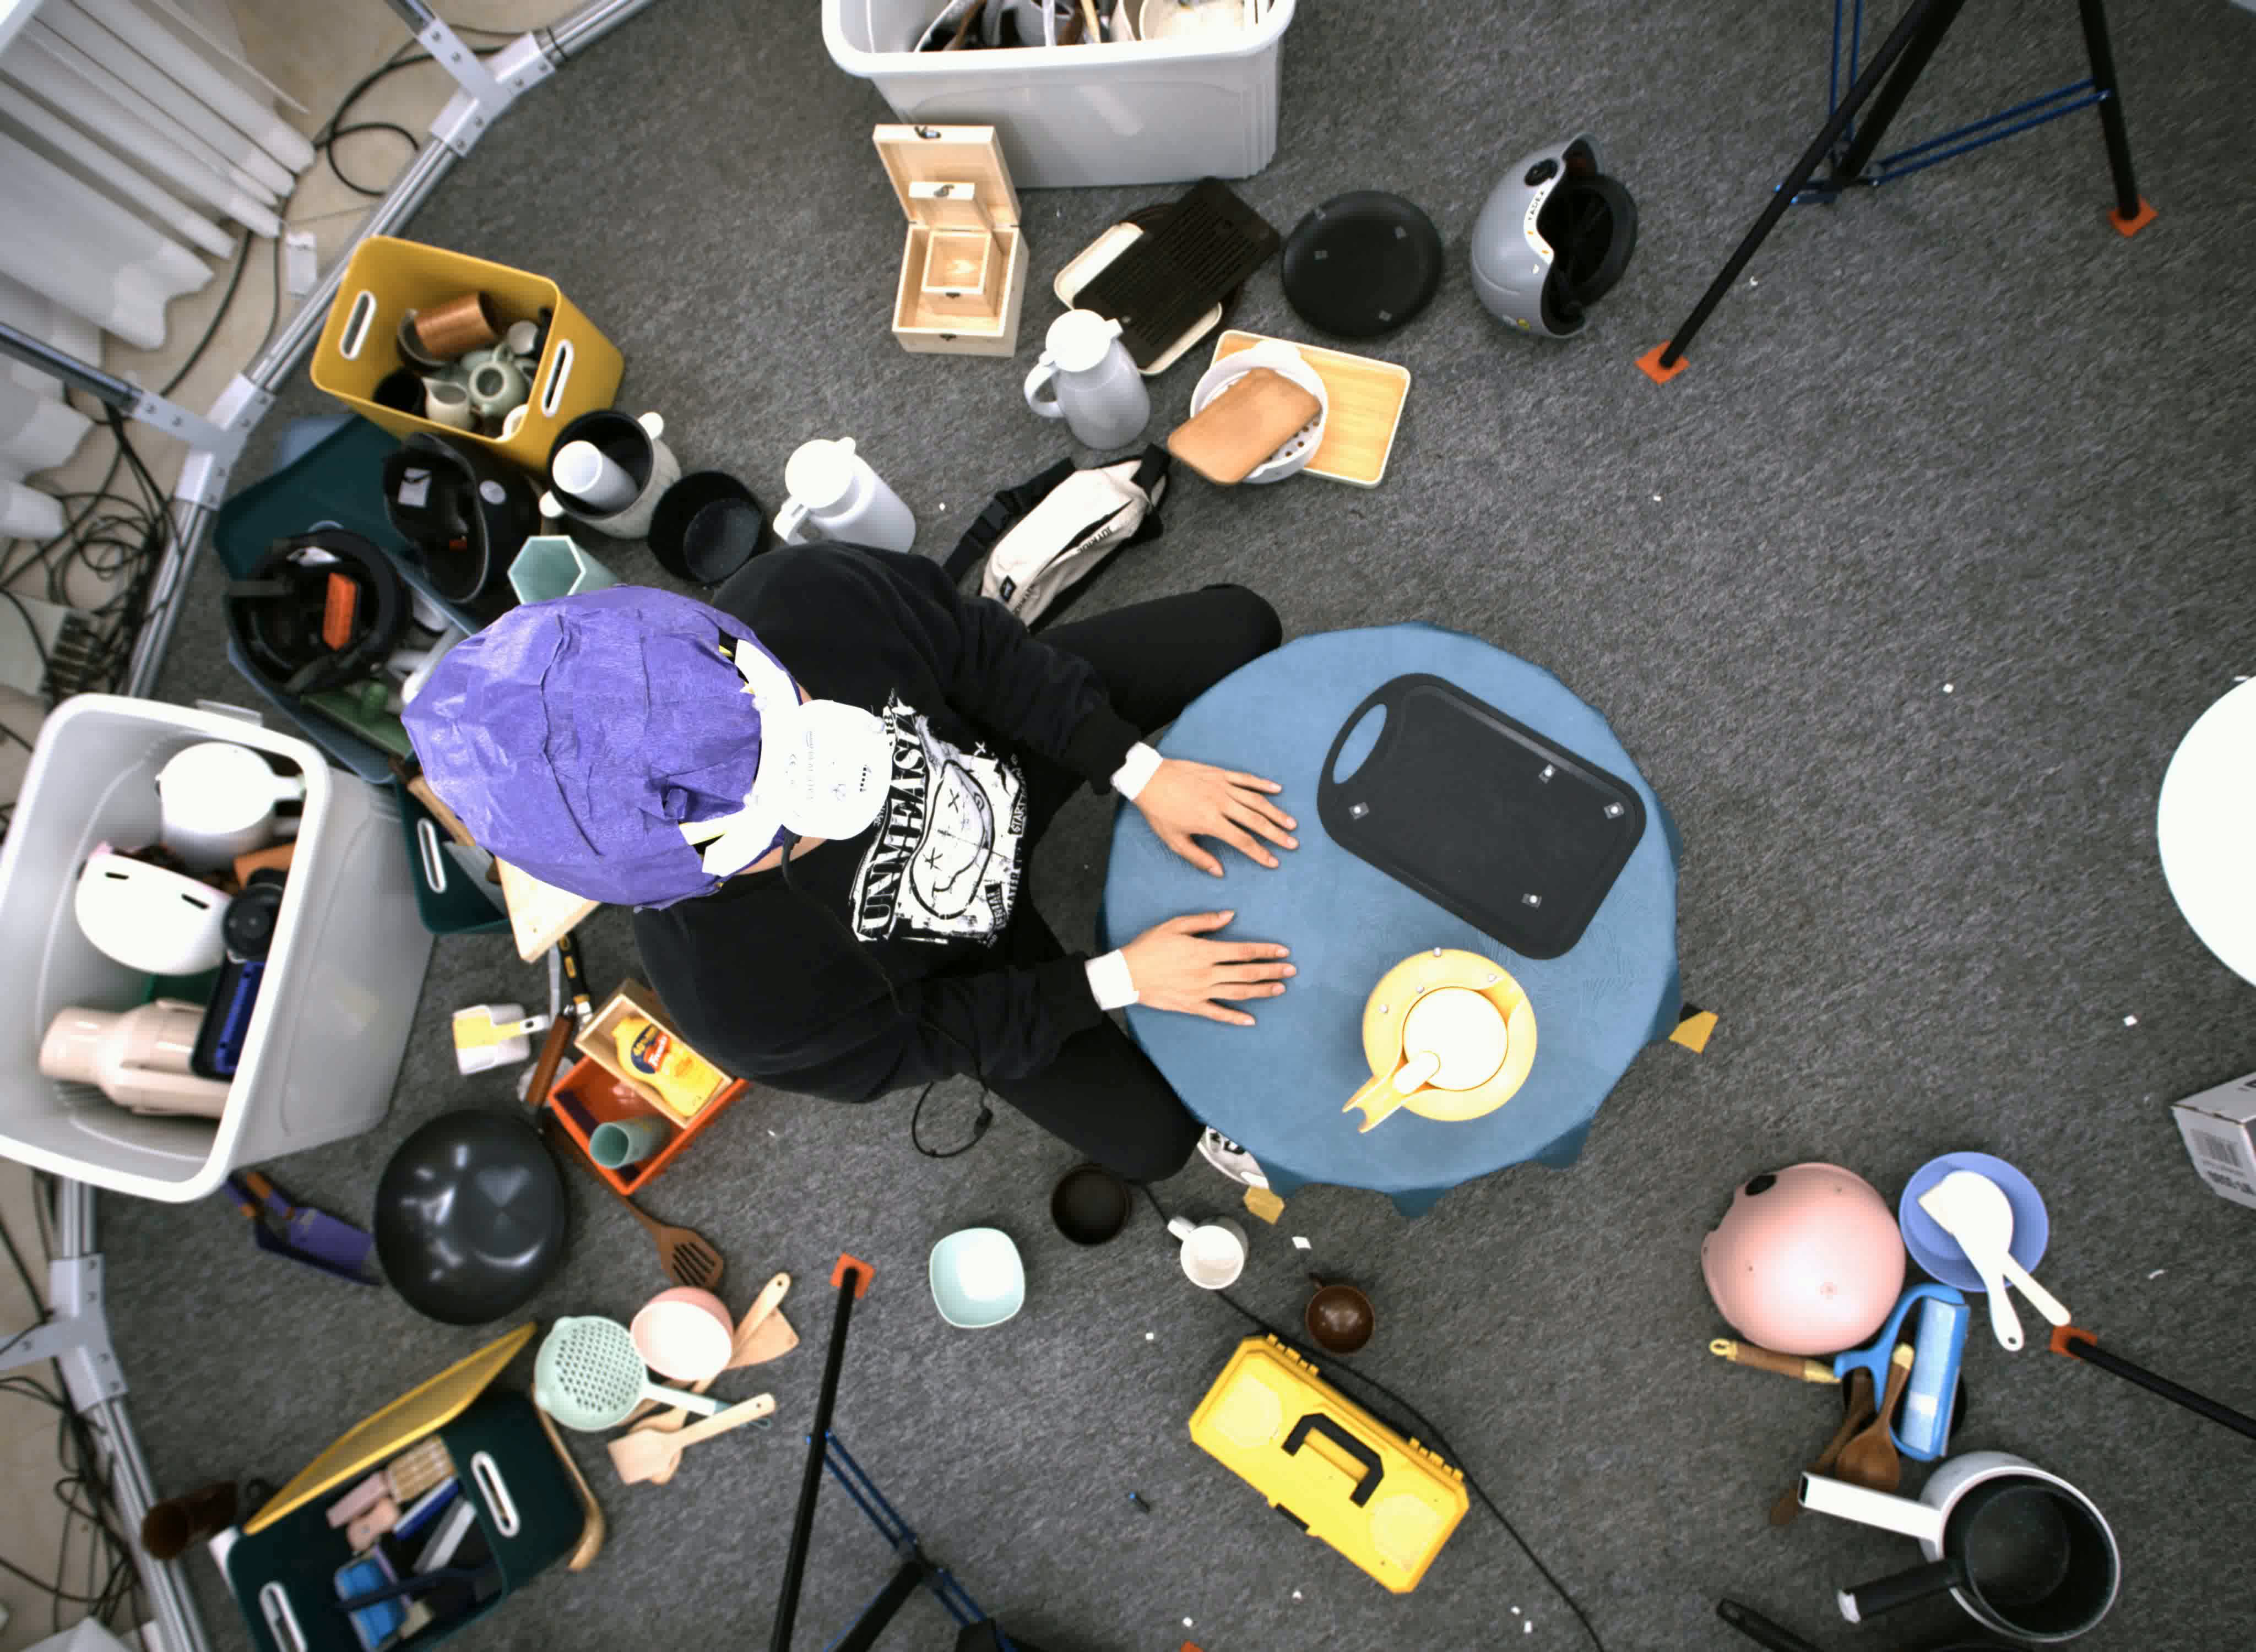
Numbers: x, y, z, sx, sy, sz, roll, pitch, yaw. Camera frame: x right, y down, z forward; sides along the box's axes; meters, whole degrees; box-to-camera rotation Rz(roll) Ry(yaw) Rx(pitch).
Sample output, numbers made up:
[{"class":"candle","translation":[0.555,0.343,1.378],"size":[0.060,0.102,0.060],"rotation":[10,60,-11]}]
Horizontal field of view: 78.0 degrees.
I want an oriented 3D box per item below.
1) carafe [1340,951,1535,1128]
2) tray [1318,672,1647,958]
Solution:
[{"class":"carafe","translation":[0.288,0.209,1.317],"size":[0.203,0.261,0.162],"rotation":[-38,77,3]},{"class":"tray","translation":[0.362,-0.020,1.444],"size":[0.324,0.010,0.211],"rotation":[32,93,11]}]
